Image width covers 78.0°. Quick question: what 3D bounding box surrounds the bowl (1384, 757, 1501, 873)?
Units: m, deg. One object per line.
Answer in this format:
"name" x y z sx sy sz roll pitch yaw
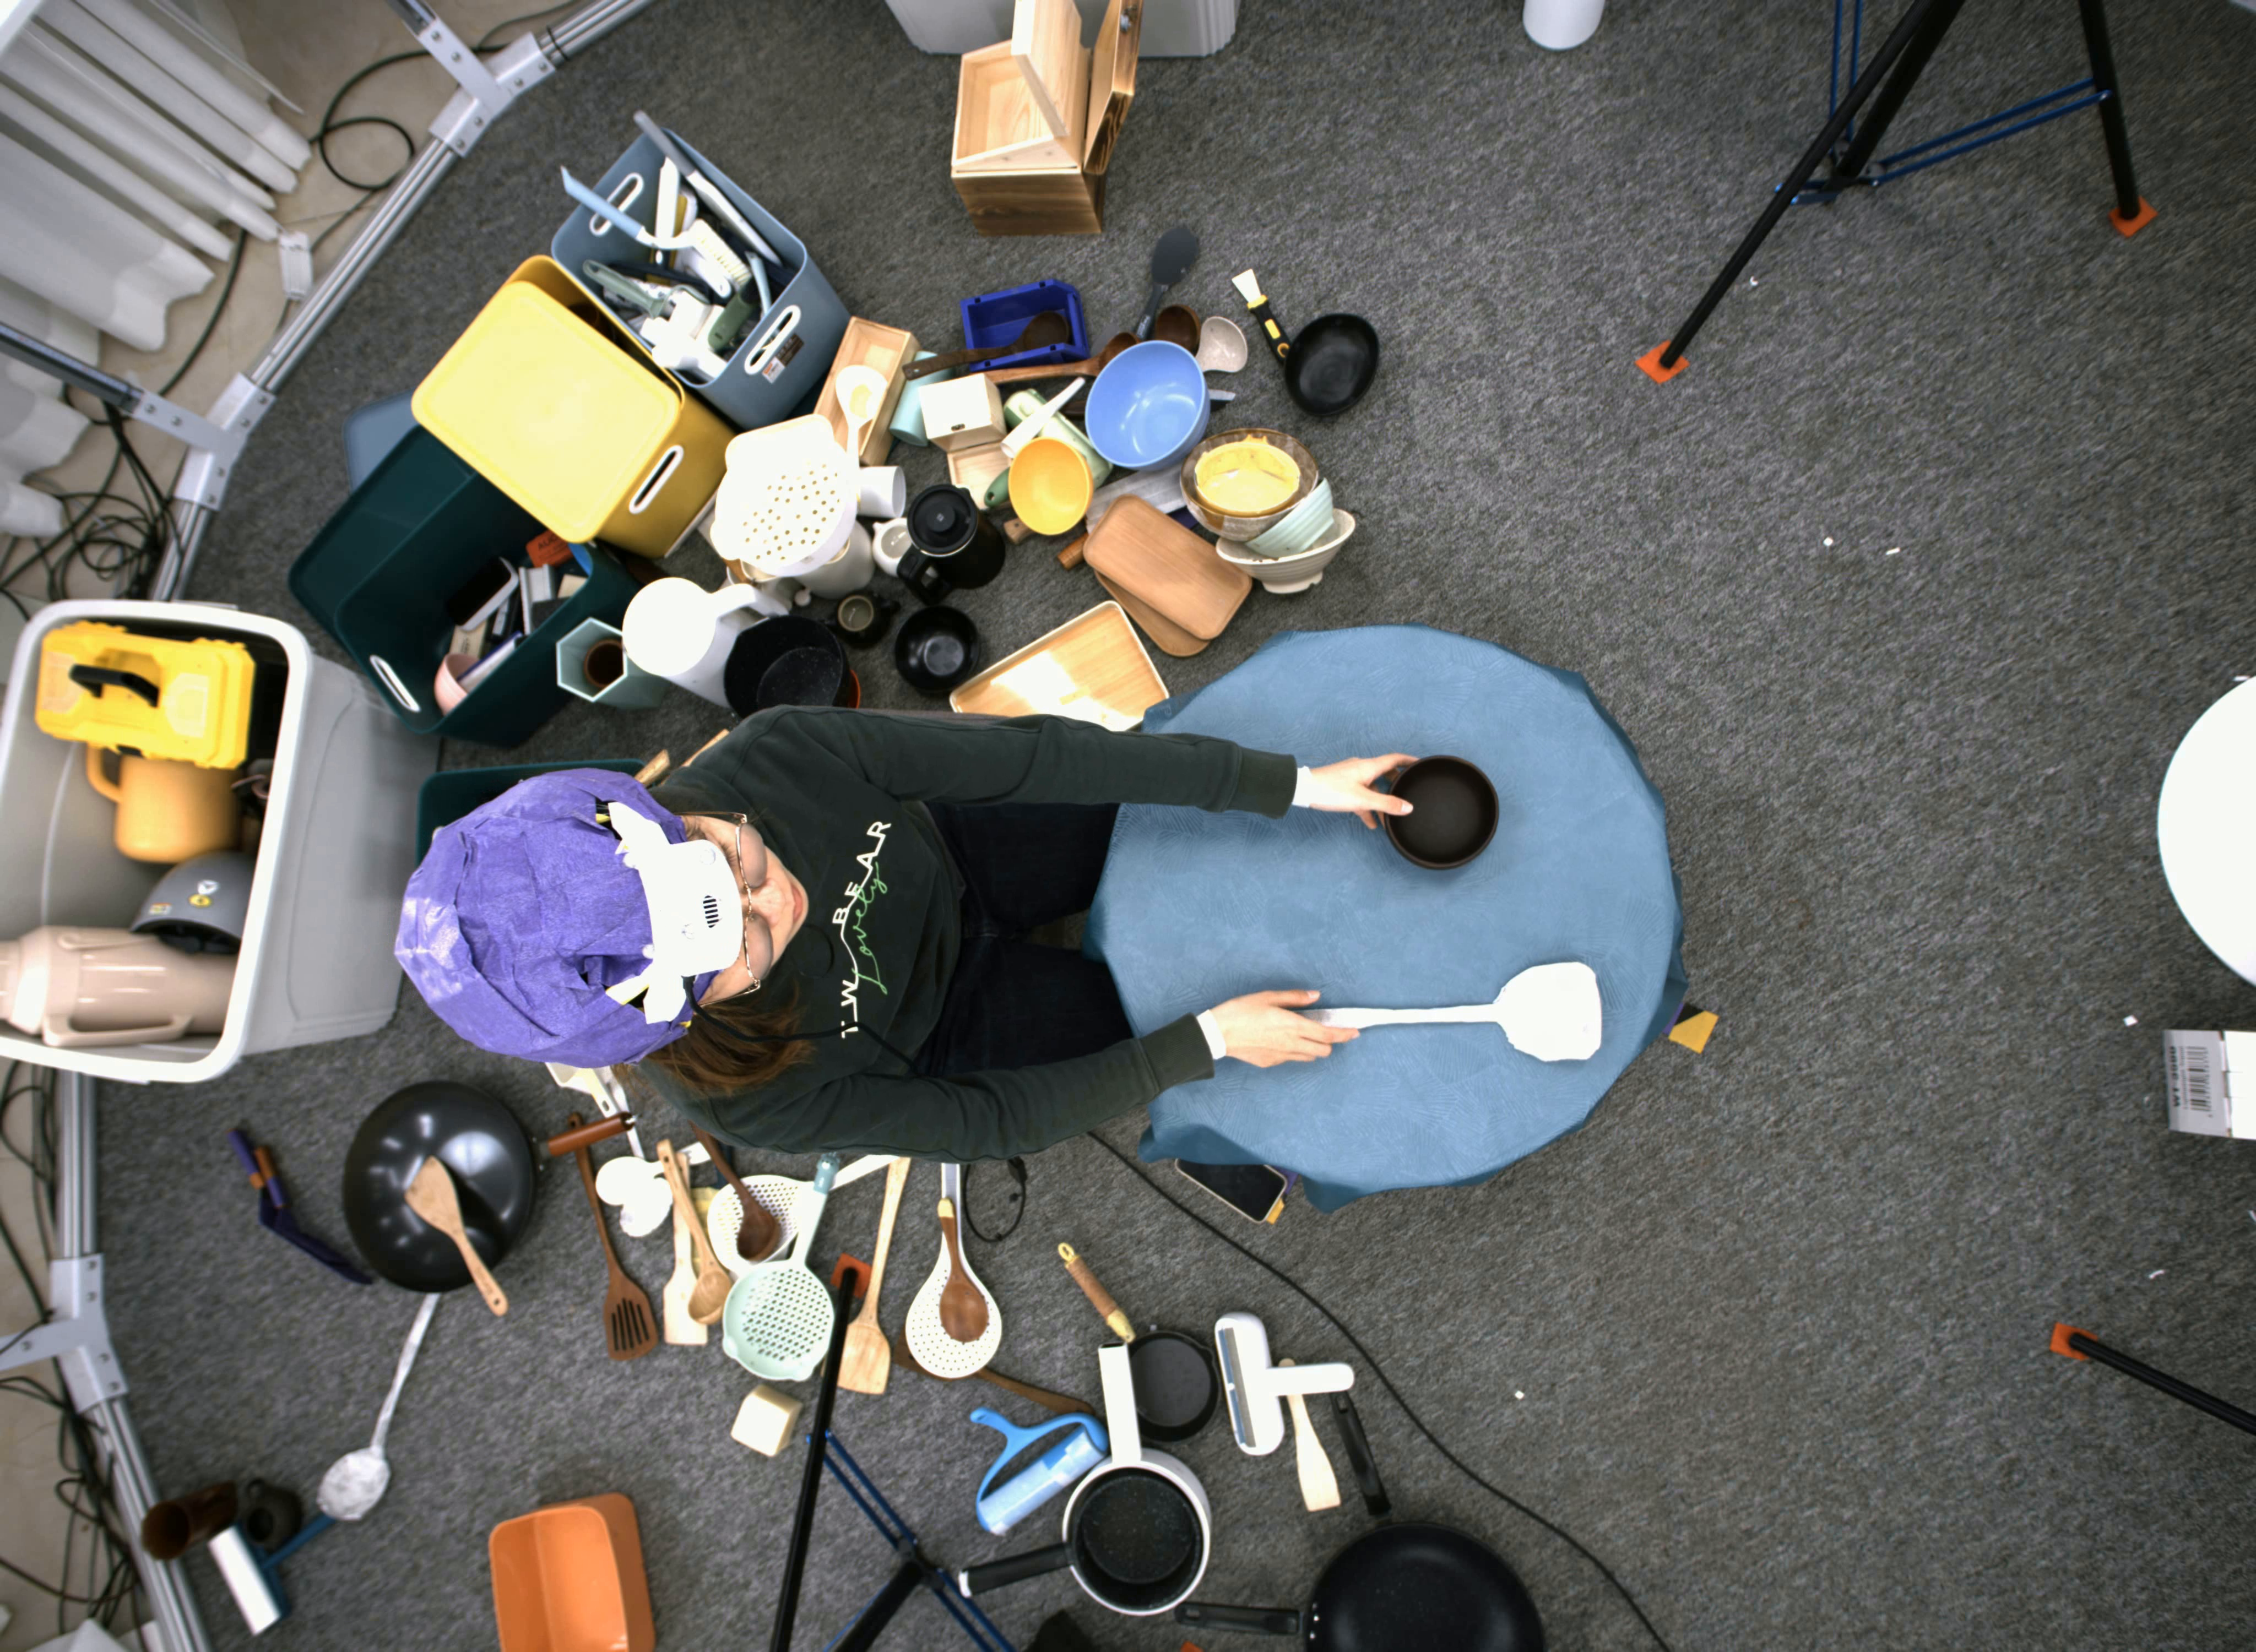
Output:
"bowl" 0.324 -0.010 1.424 0.118 0.070 0.117 -1 83 11

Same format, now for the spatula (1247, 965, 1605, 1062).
"spatula" 0.303 0.193 1.431 0.366 0.045 0.098 -2 87 10
